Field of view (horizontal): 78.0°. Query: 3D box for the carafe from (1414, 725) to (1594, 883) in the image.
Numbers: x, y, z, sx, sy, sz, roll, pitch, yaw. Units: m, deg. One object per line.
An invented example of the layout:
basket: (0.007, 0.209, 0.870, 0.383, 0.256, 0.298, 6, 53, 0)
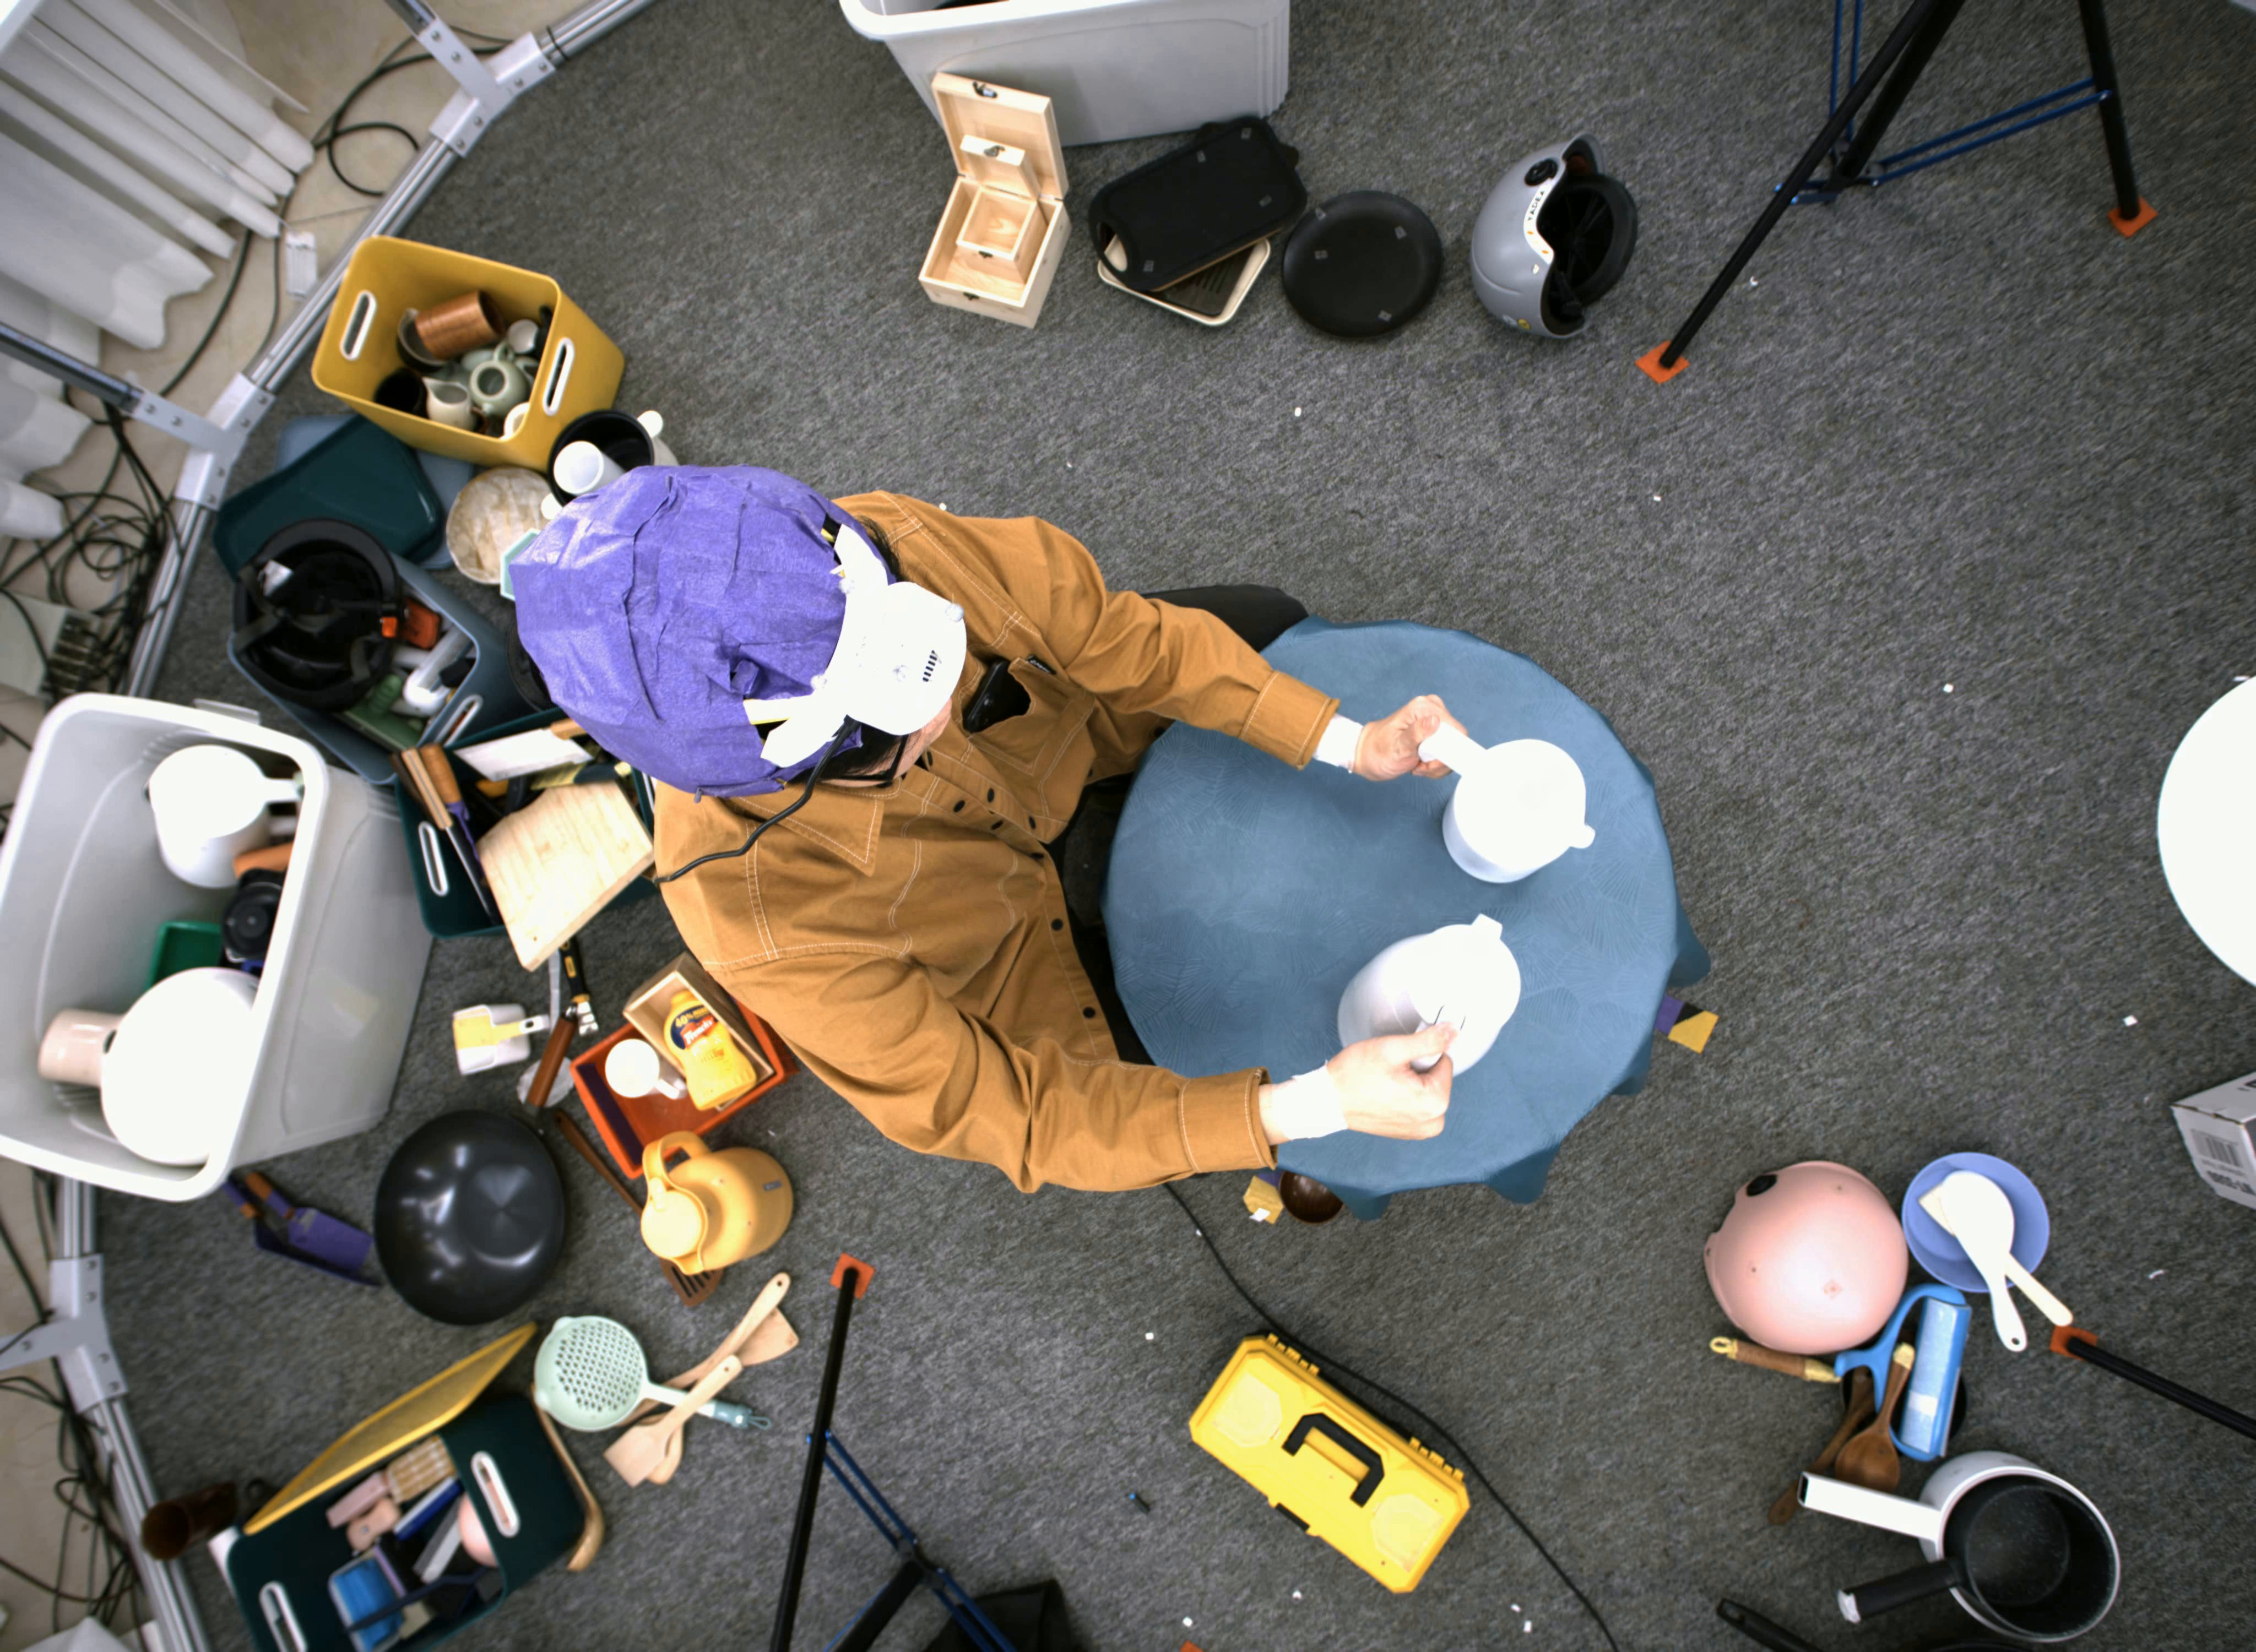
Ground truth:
carafe: (0.352, -0.022, 1.315, 0.172, 0.269, 0.124, 36, 94, 11)

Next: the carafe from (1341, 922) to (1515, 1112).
carafe: (0.263, 0.177, 1.227, 0.132, 0.251, 0.166, 28, 79, 8)
